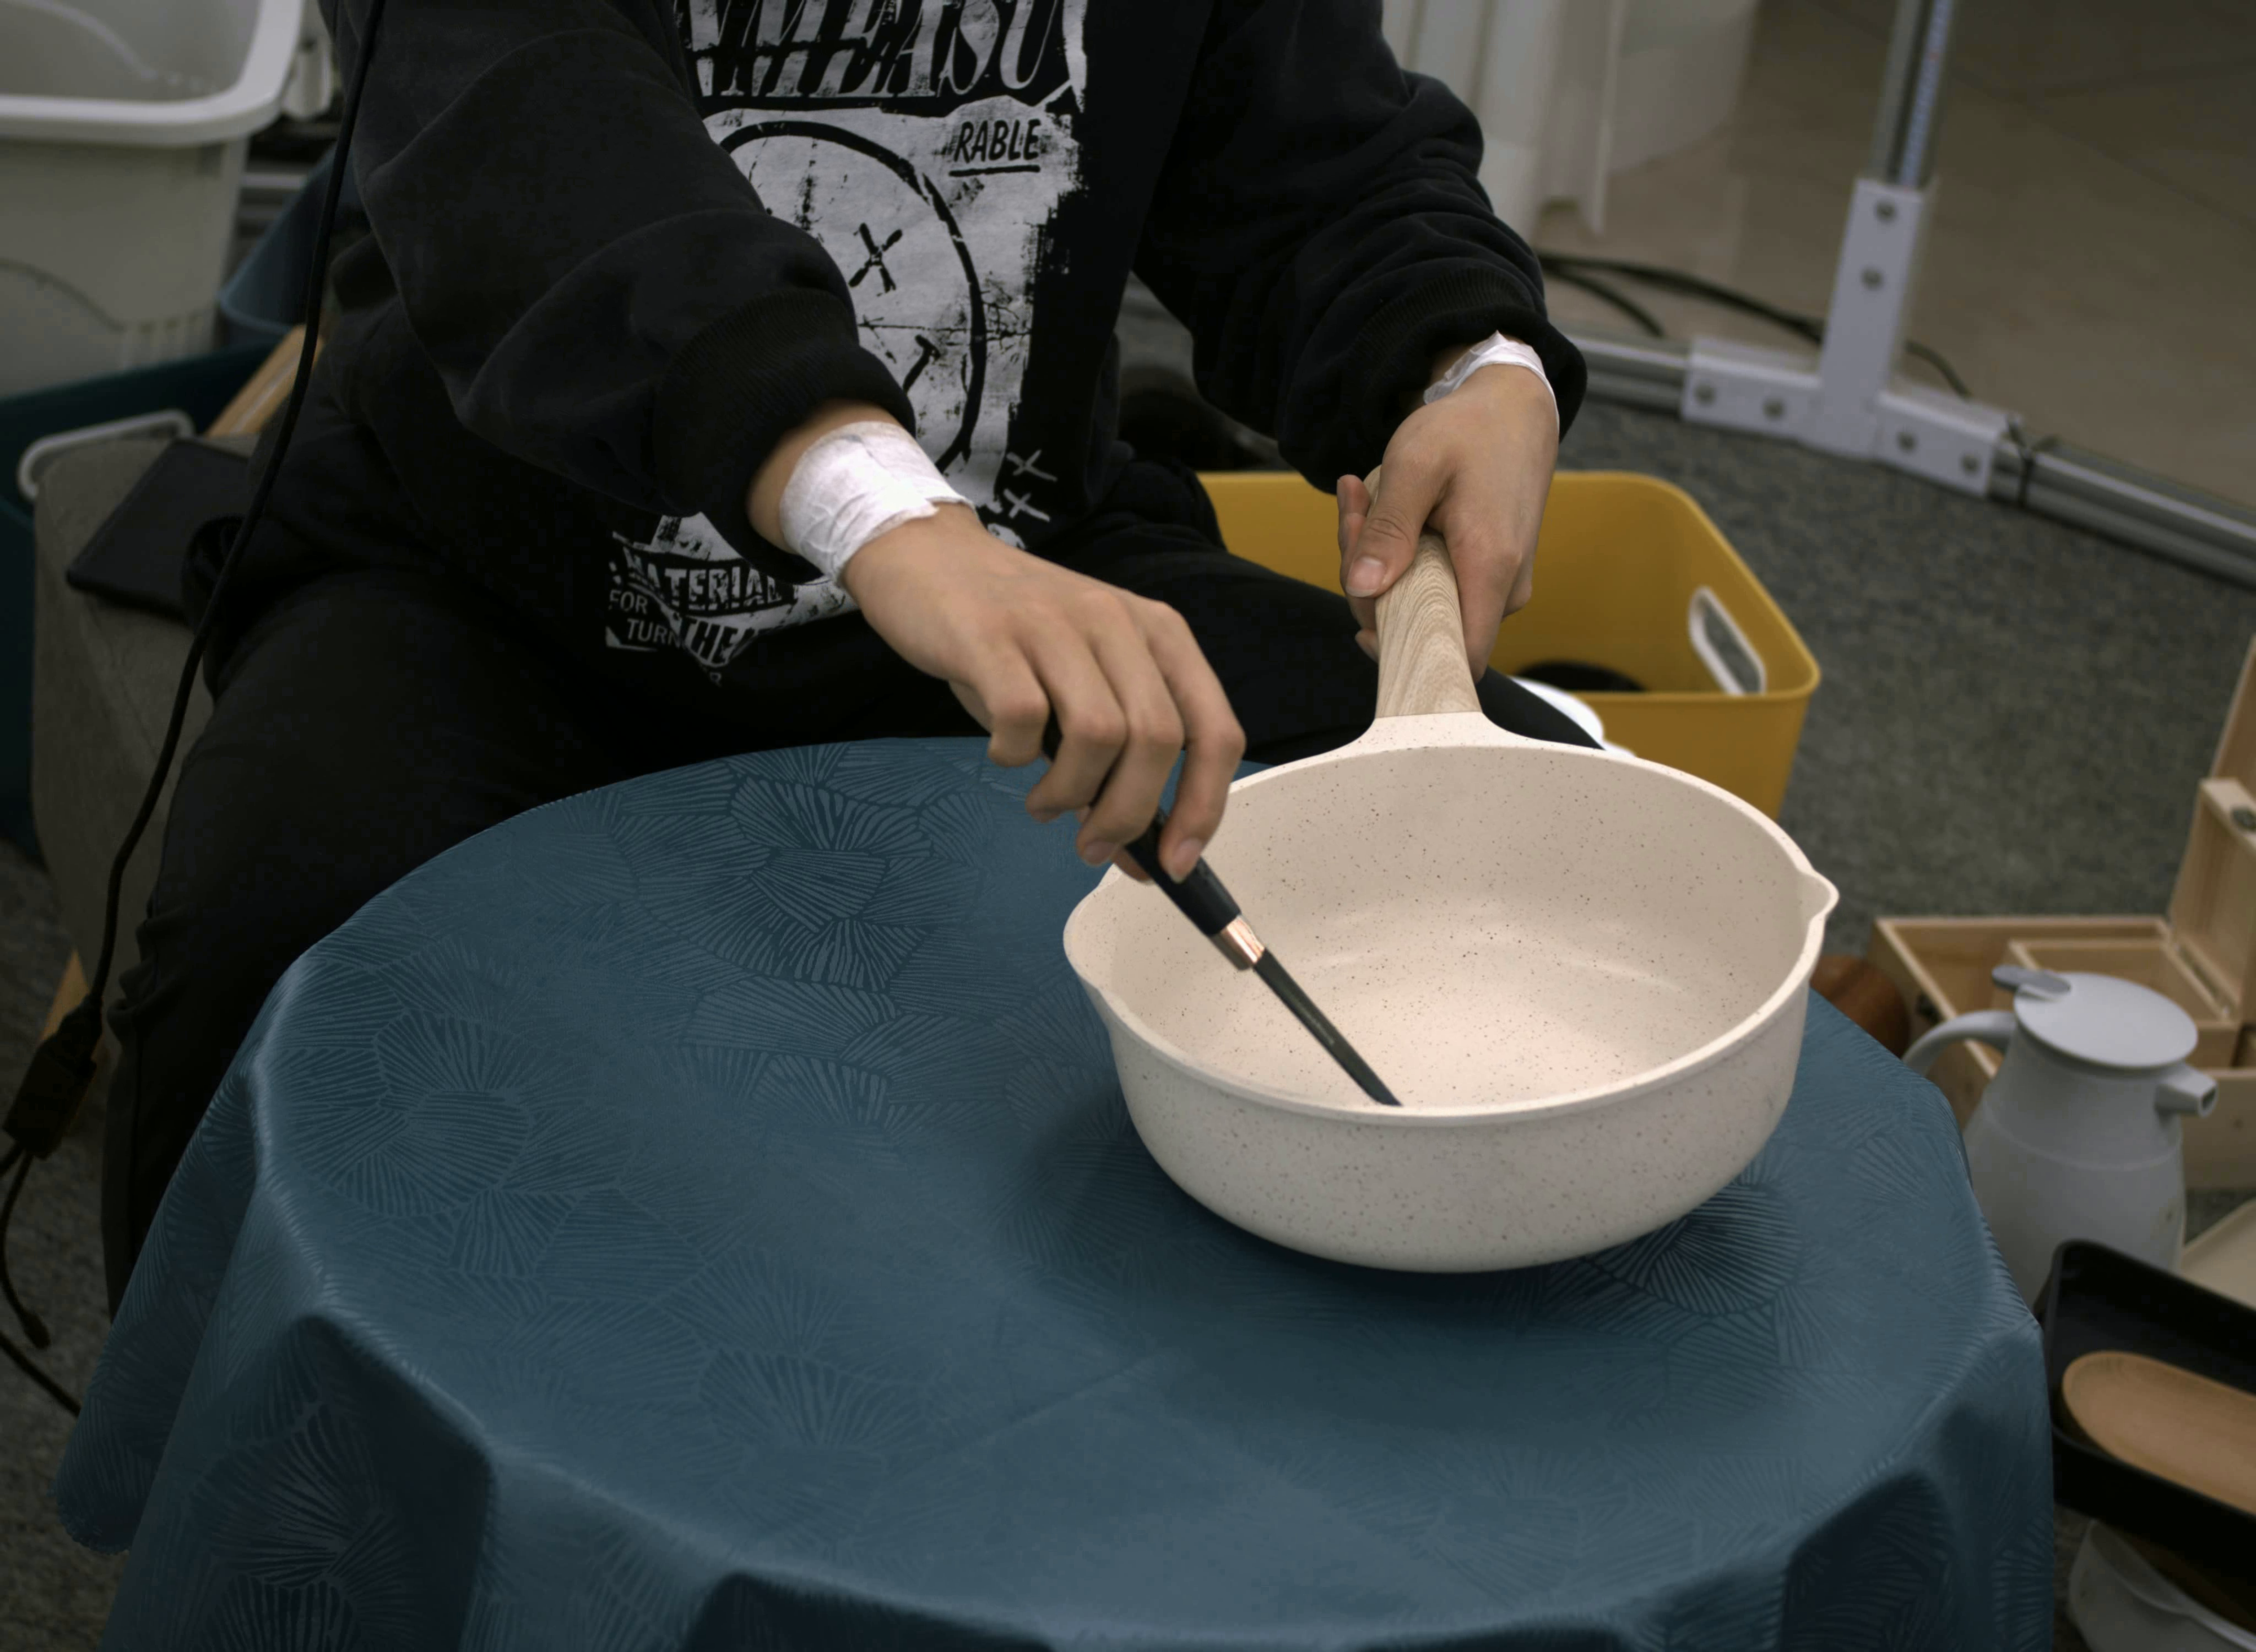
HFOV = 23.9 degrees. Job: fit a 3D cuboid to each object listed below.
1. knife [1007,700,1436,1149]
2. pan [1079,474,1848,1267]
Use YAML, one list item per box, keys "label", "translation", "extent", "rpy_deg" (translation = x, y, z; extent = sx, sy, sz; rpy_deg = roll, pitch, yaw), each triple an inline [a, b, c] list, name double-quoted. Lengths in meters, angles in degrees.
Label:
- label: "knife"
  translation: [0.041, 0.041, 1.707]
  extent: [0.224, 0.017, 0.026]
  rpy_deg: [46, 9, -13]
- label: "pan"
  translation: [0.115, 0.012, 1.901]
  extent: [0.263, 0.101, 0.438]
  rpy_deg: [-6, 29, 2]
